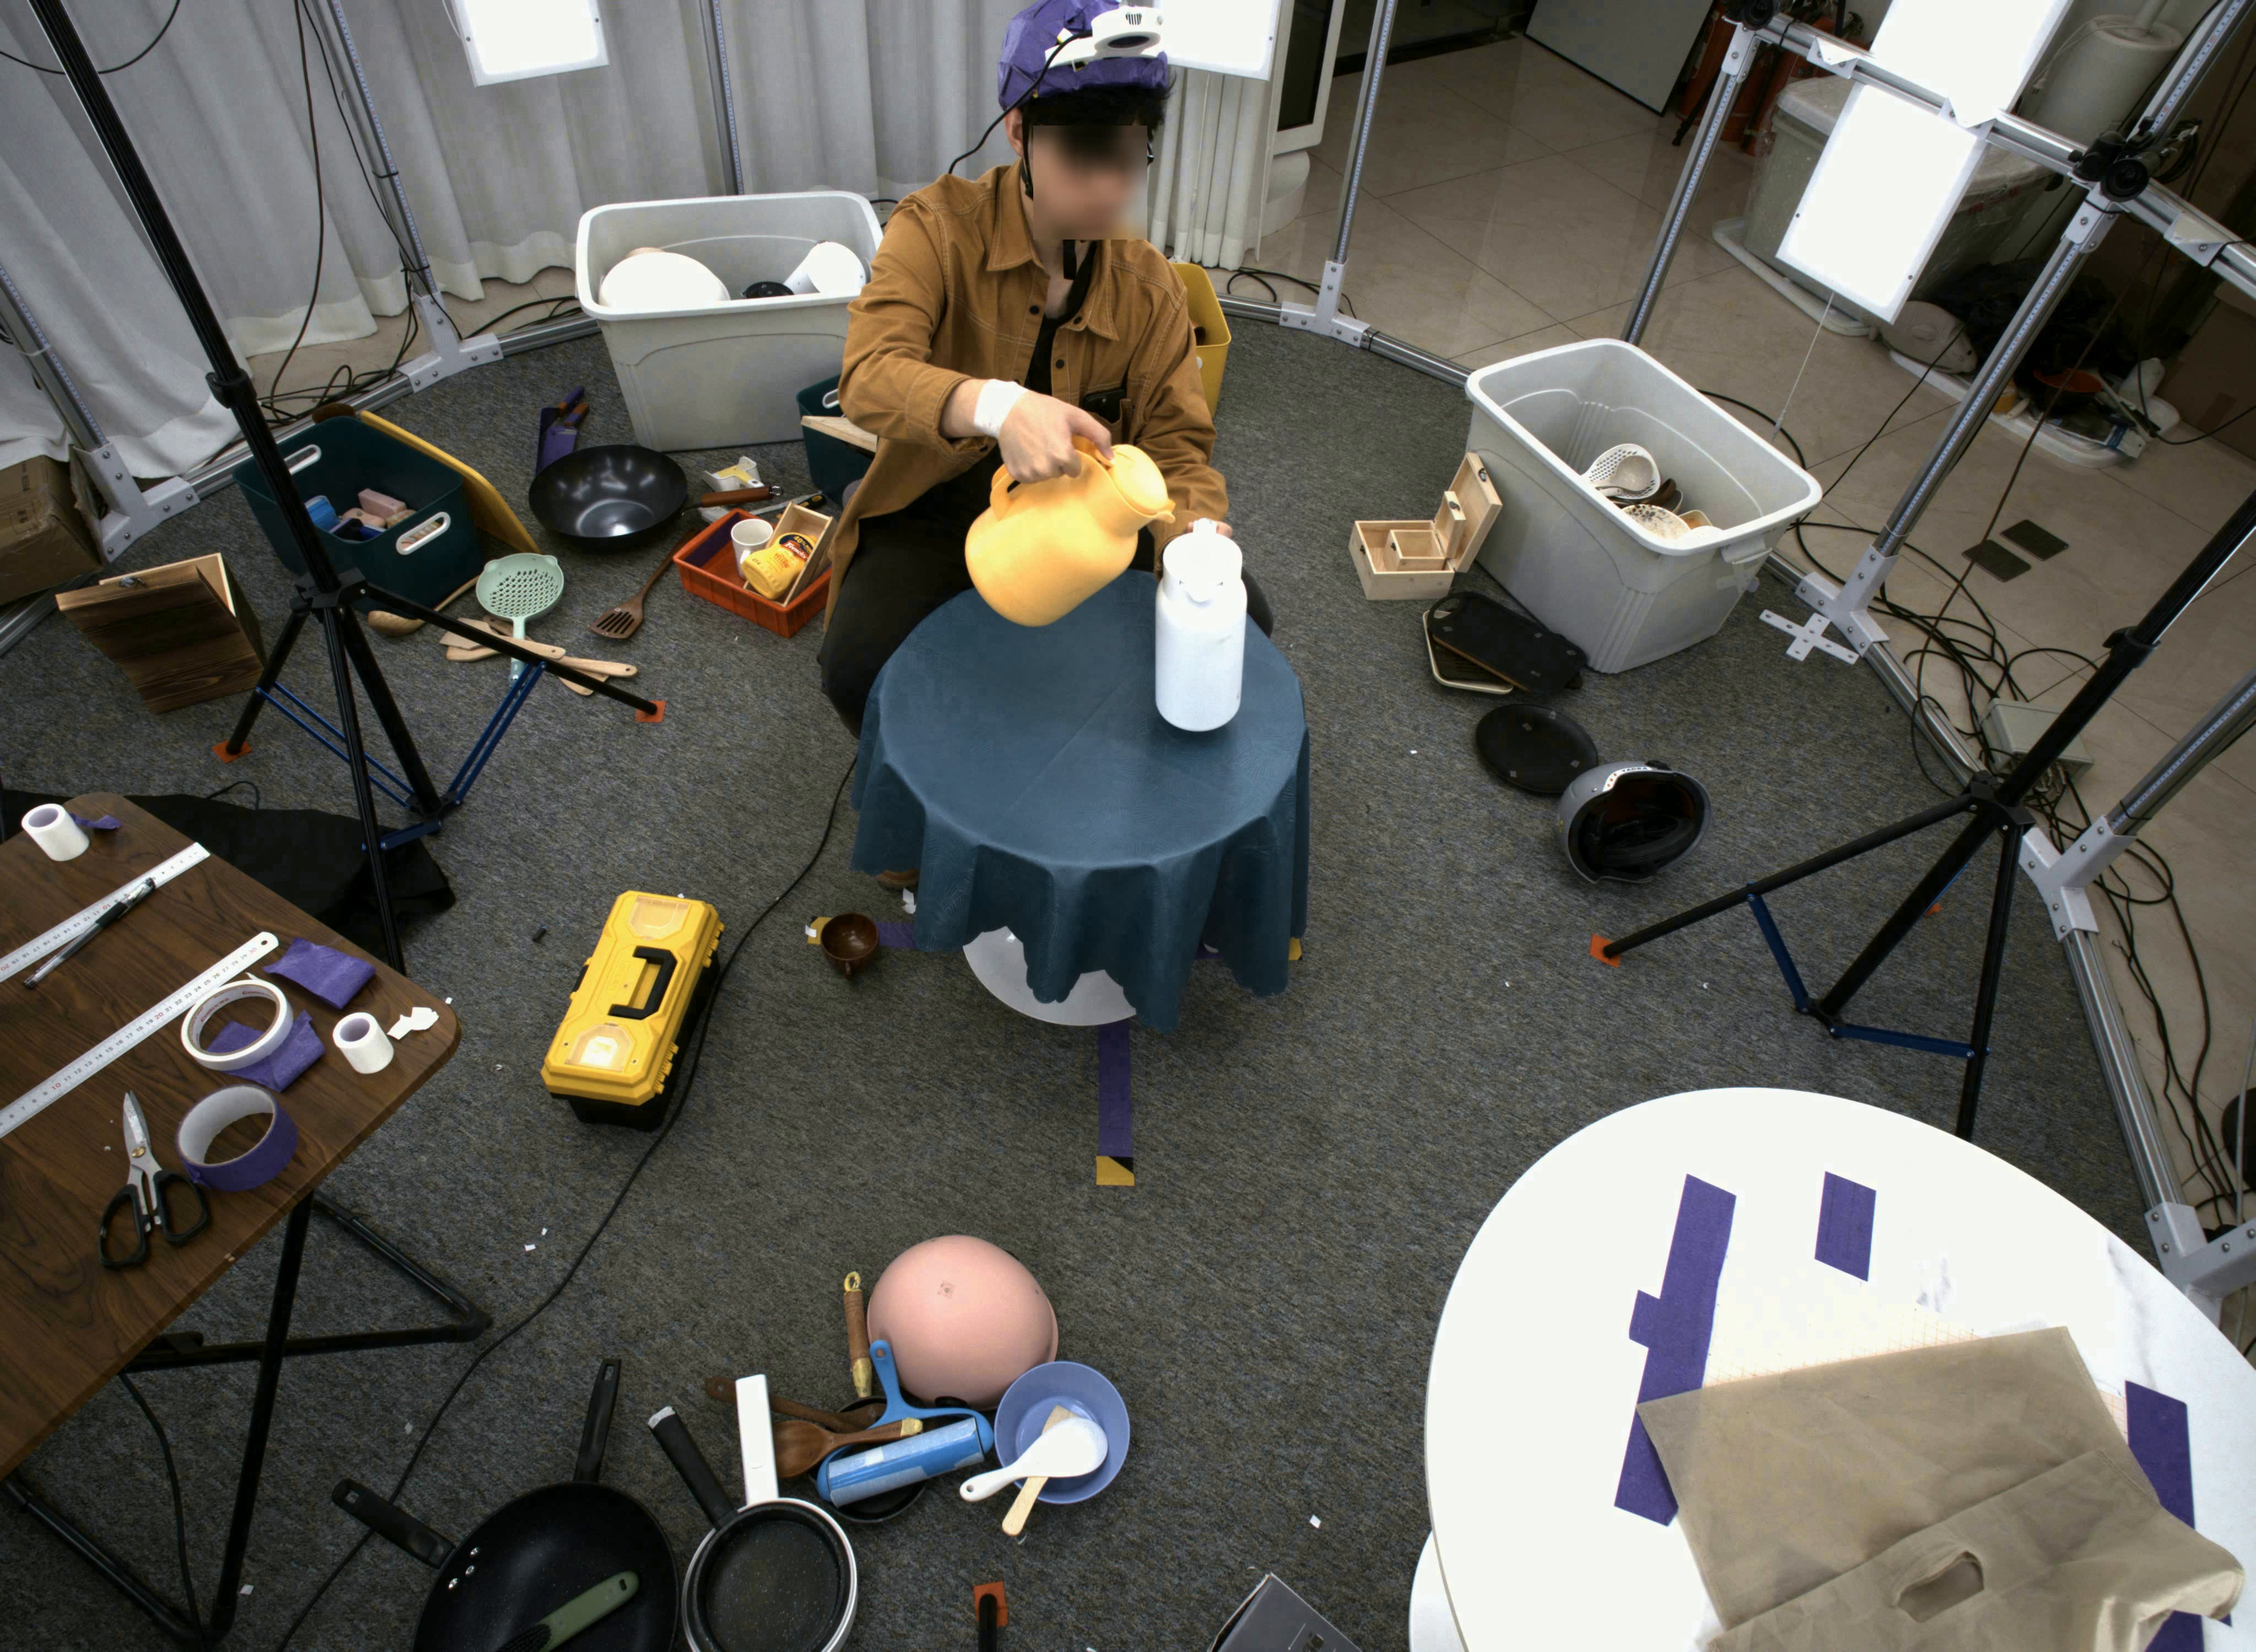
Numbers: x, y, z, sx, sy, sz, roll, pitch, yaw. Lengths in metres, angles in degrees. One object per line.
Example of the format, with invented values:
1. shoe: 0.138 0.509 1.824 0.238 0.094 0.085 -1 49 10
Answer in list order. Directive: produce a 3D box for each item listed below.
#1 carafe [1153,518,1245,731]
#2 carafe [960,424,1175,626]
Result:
1. carafe: 0.092 -0.265 1.690 0.124 0.262 0.177 1 51 5
2. carafe: -0.084 -0.372 1.552 0.199 0.258 0.167 33 44 -35
